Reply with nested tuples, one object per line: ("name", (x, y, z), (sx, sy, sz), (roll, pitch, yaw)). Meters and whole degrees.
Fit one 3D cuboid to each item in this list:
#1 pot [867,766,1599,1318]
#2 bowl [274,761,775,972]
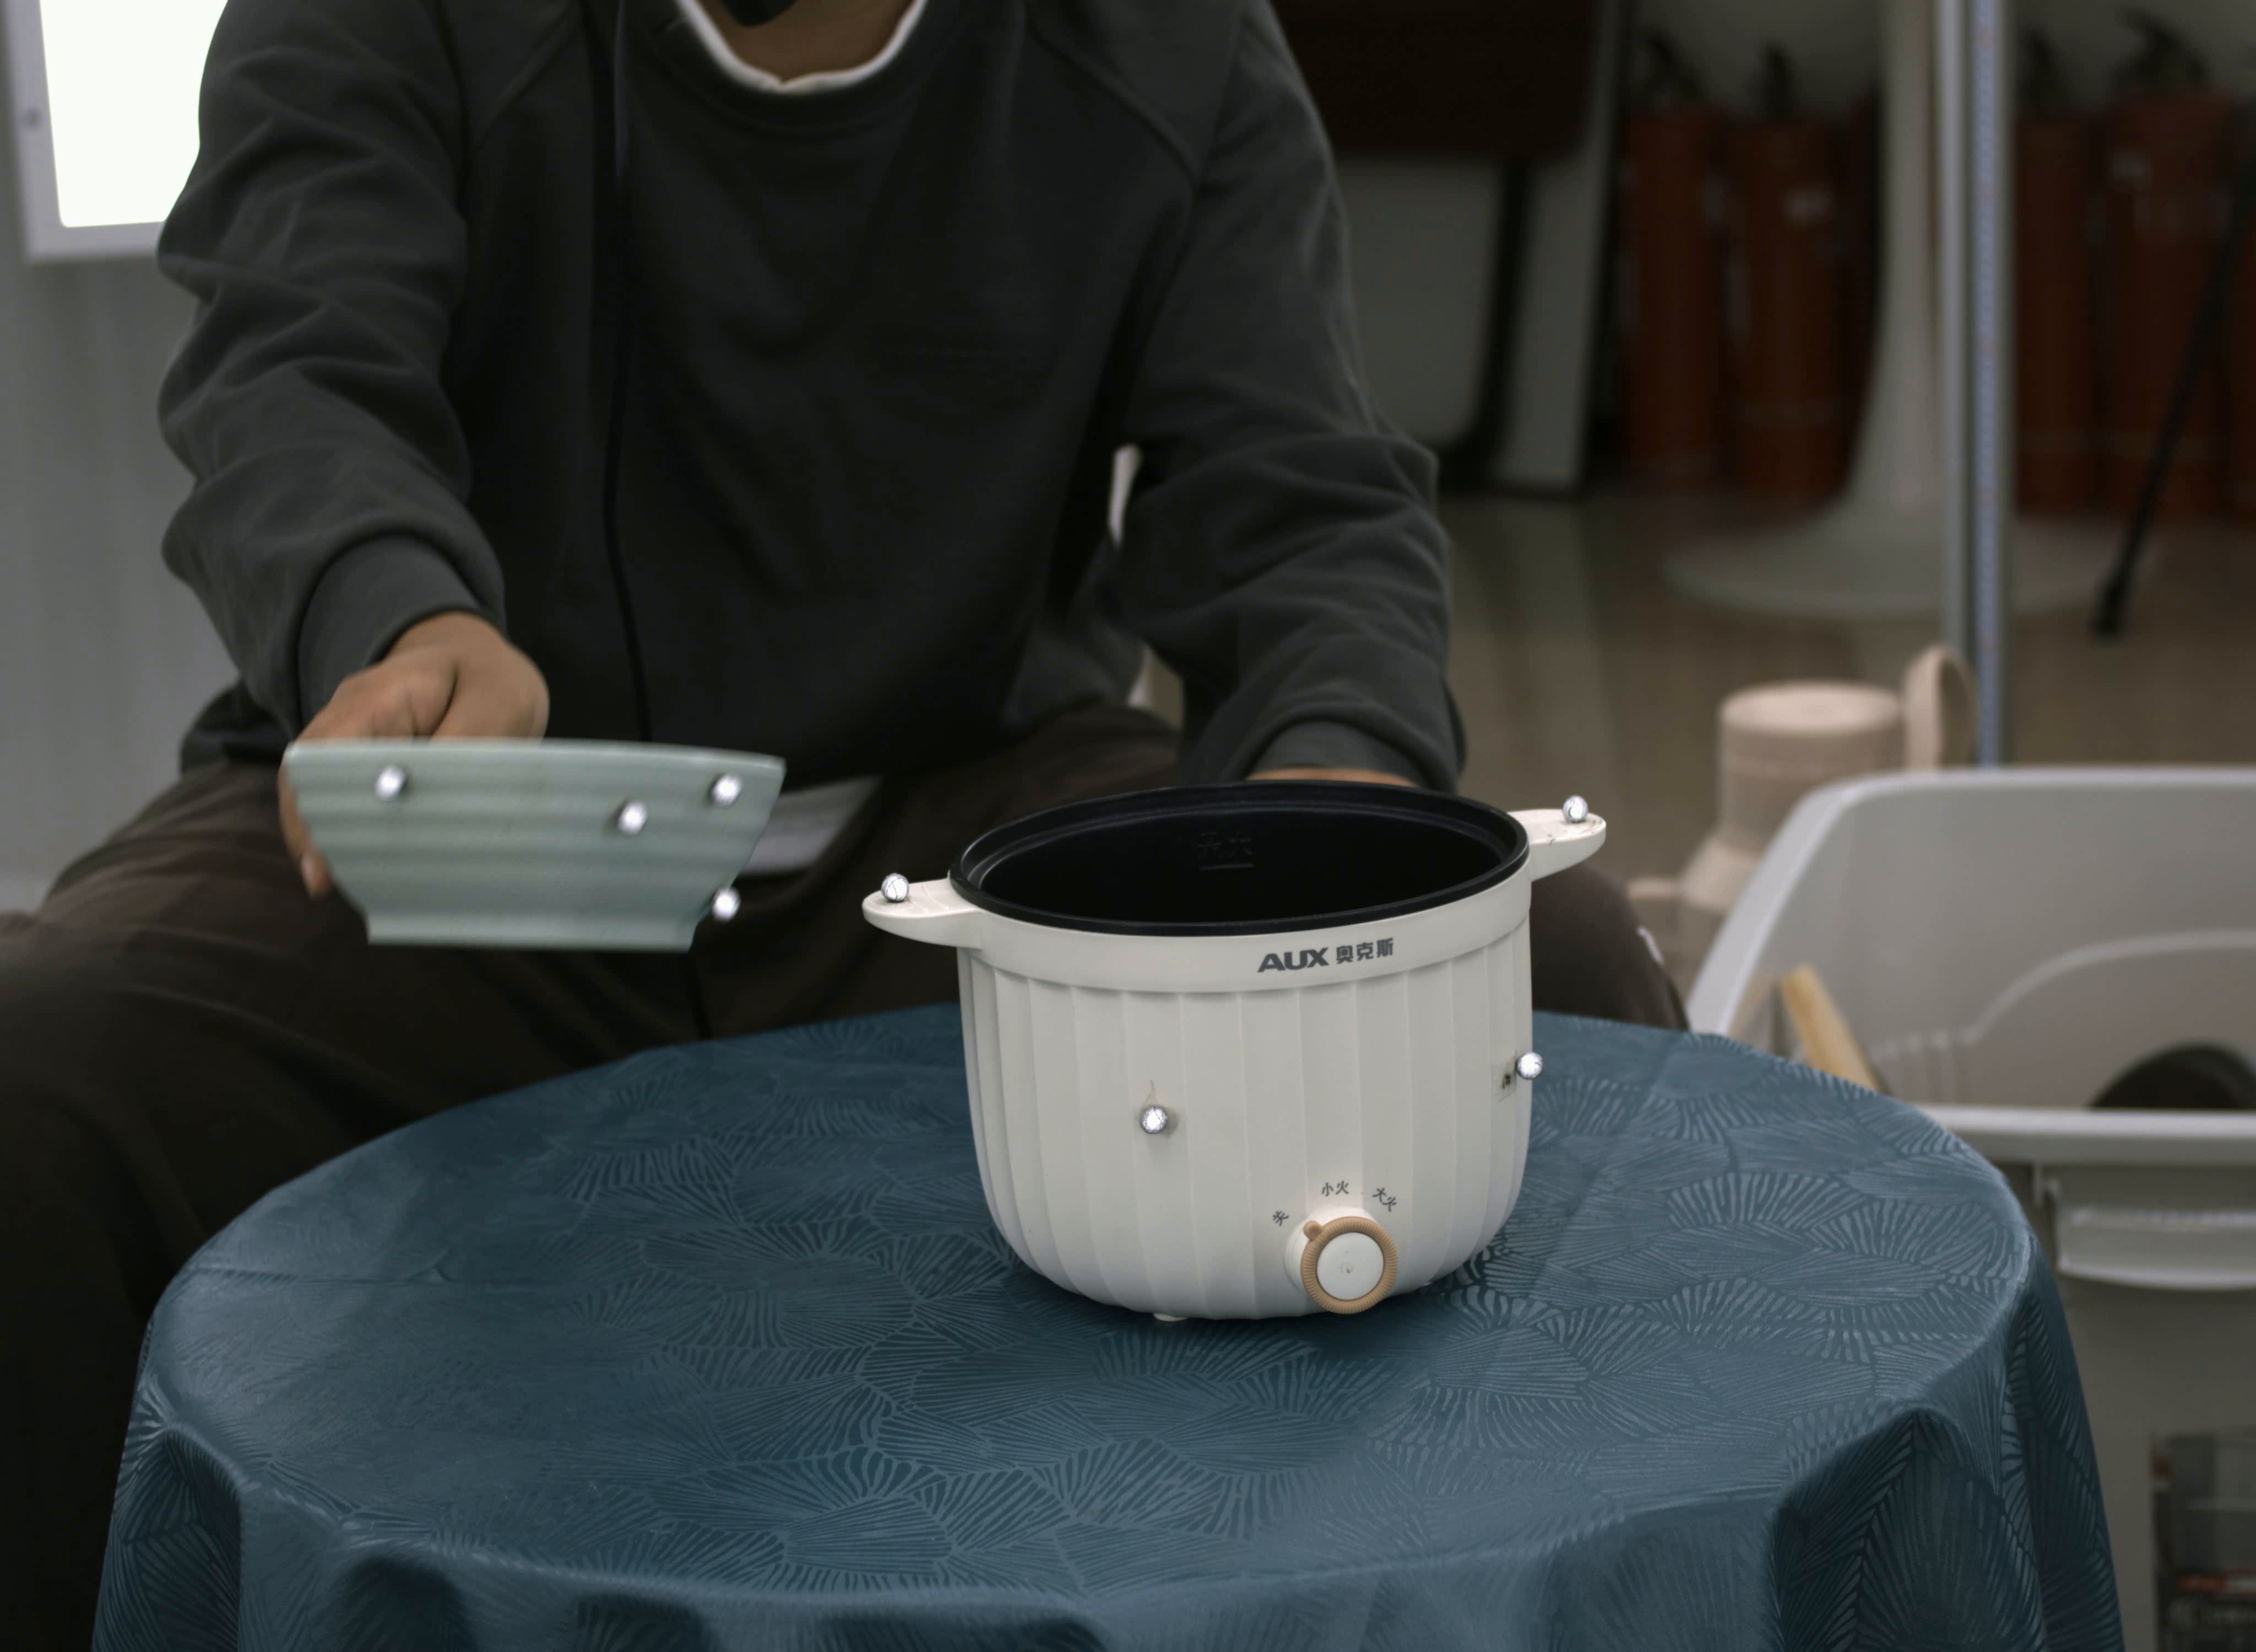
("pot", (0.041, 0.069, 1.676), (0.236, 0.144, 0.192), (-9, 11, -14))
("bowl", (-0.180, 0.013, 1.619), (0.149, 0.059, 0.151), (2, -1, -1))
